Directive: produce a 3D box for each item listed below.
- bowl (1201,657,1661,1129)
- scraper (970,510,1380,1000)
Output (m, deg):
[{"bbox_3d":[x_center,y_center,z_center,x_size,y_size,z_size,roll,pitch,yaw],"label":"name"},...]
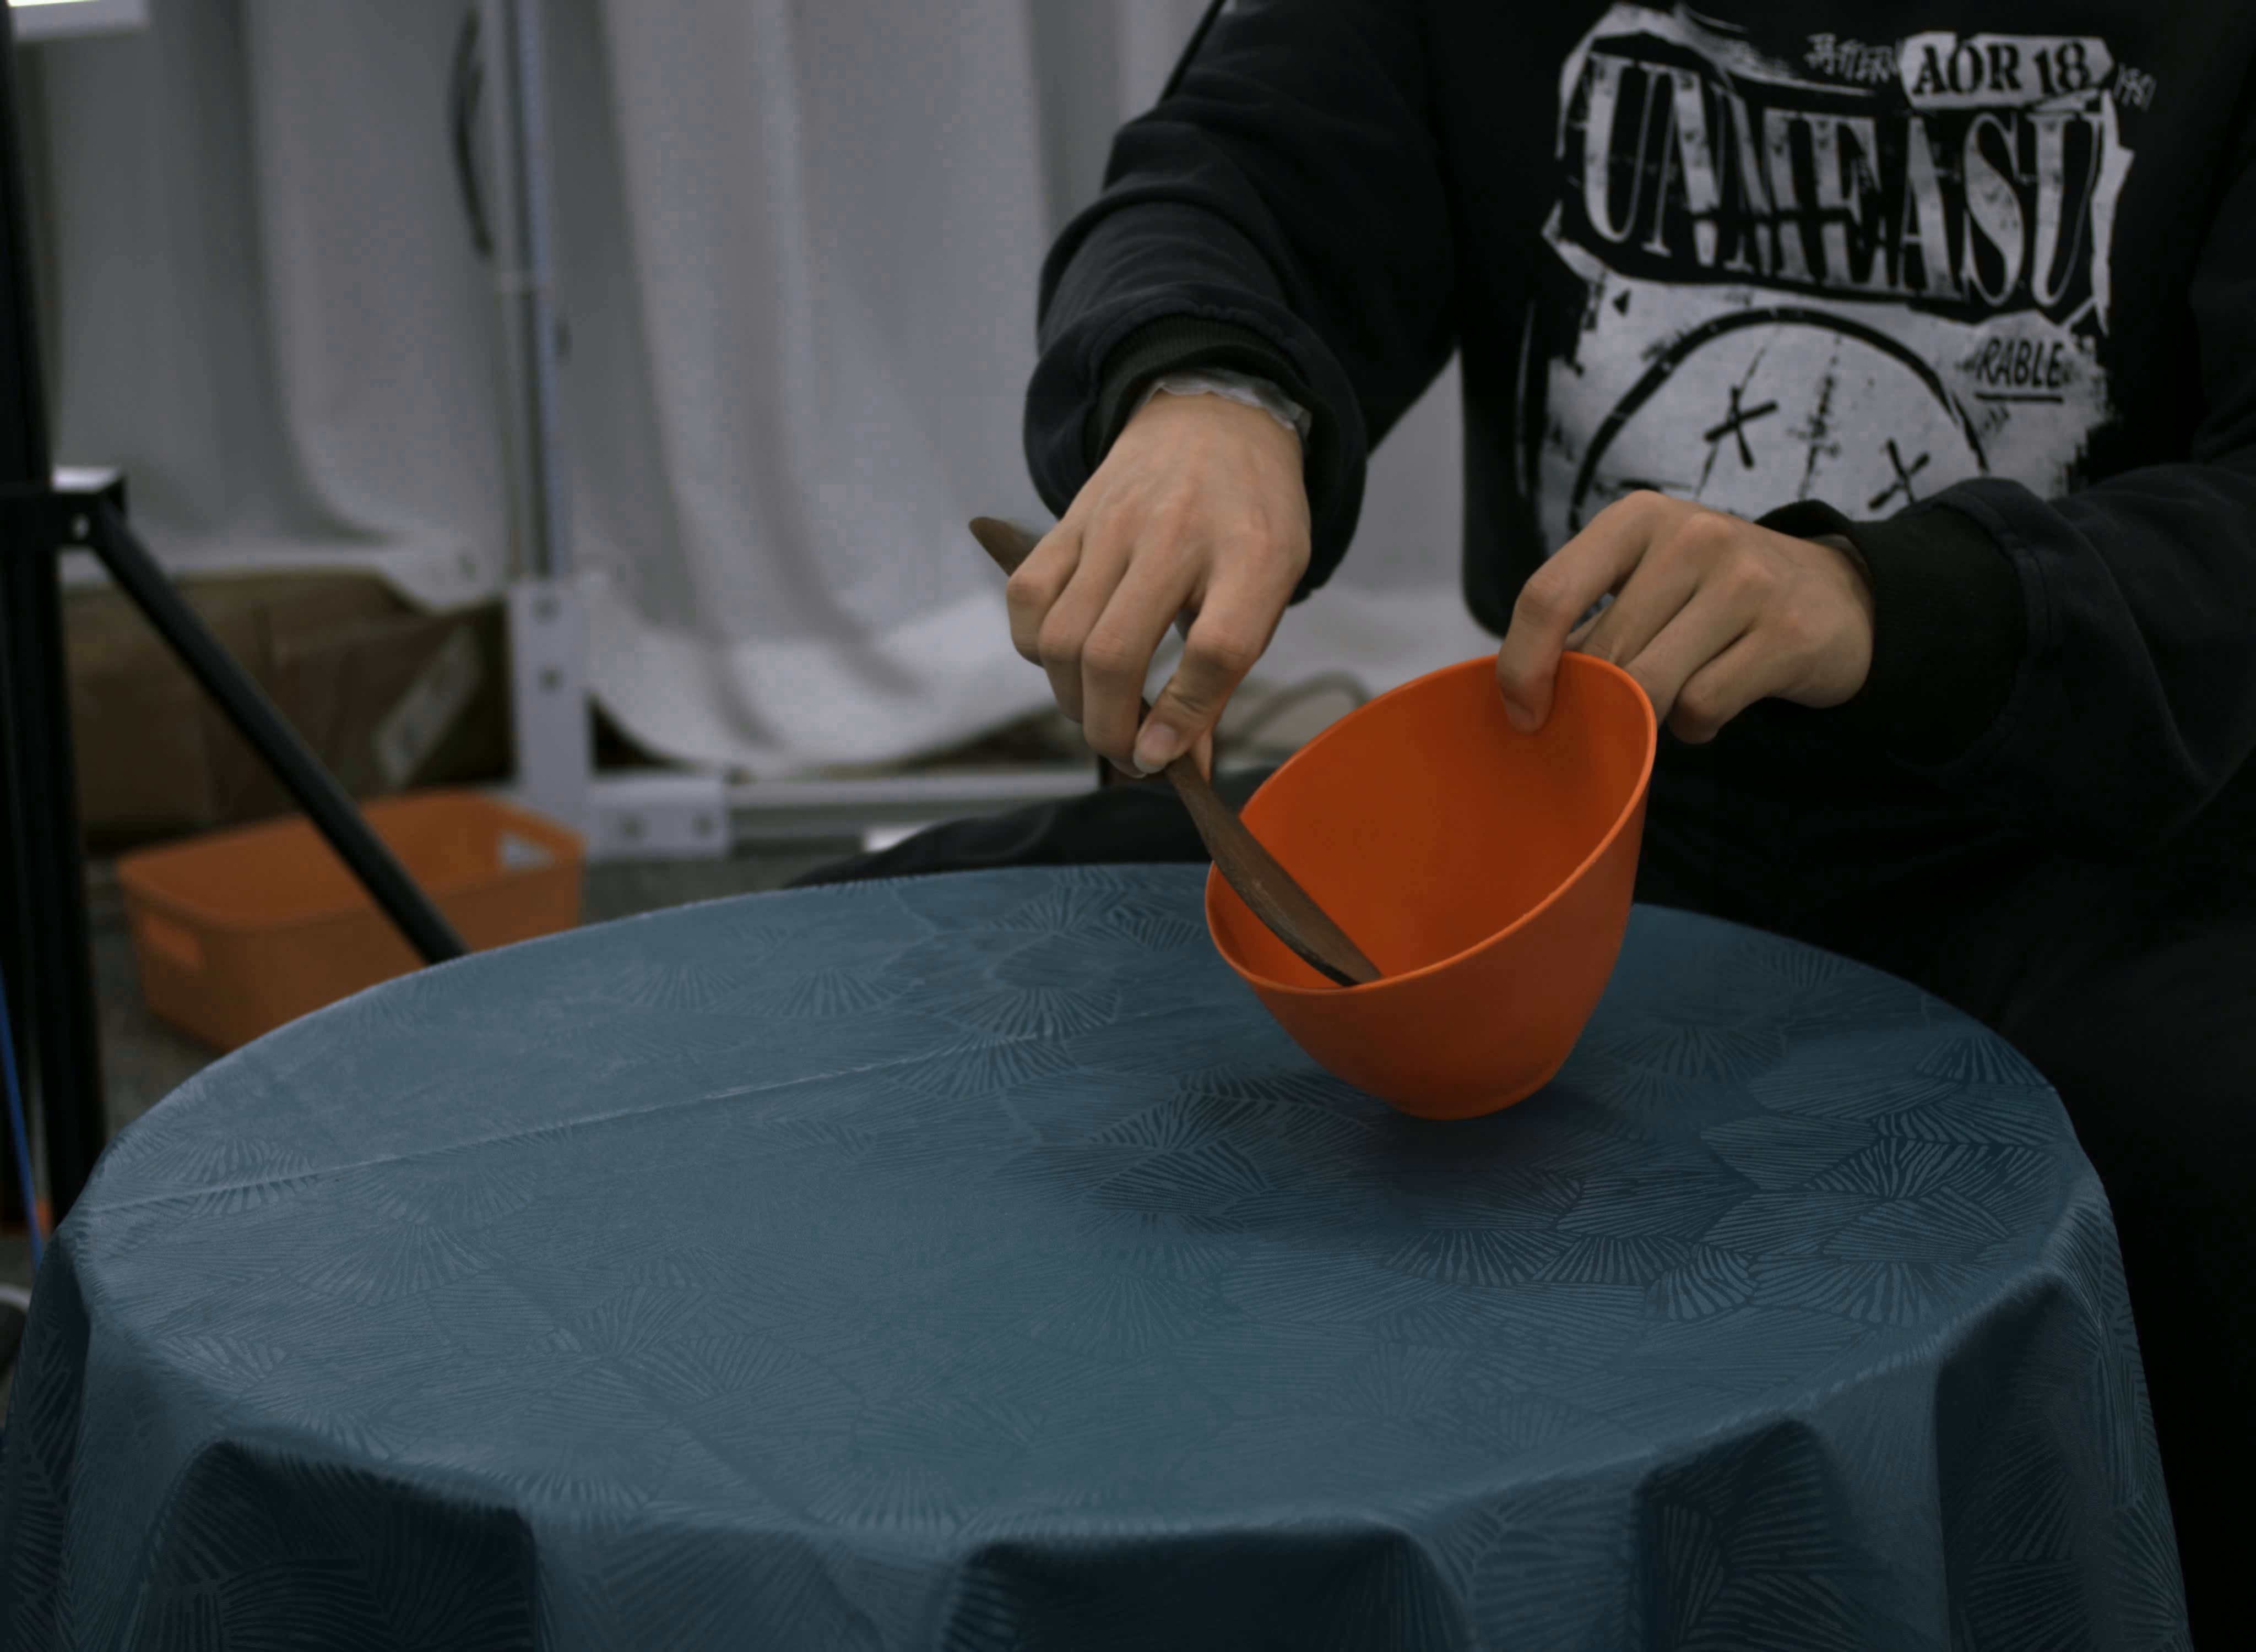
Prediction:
[{"bbox_3d":[0.100,0.031,1.595,0.148,0.103,0.149,-15,35,10],"label":"bowl"},{"bbox_3d":[0.013,-0.021,1.596,0.215,0.011,0.074,52,11,29],"label":"scraper"}]
